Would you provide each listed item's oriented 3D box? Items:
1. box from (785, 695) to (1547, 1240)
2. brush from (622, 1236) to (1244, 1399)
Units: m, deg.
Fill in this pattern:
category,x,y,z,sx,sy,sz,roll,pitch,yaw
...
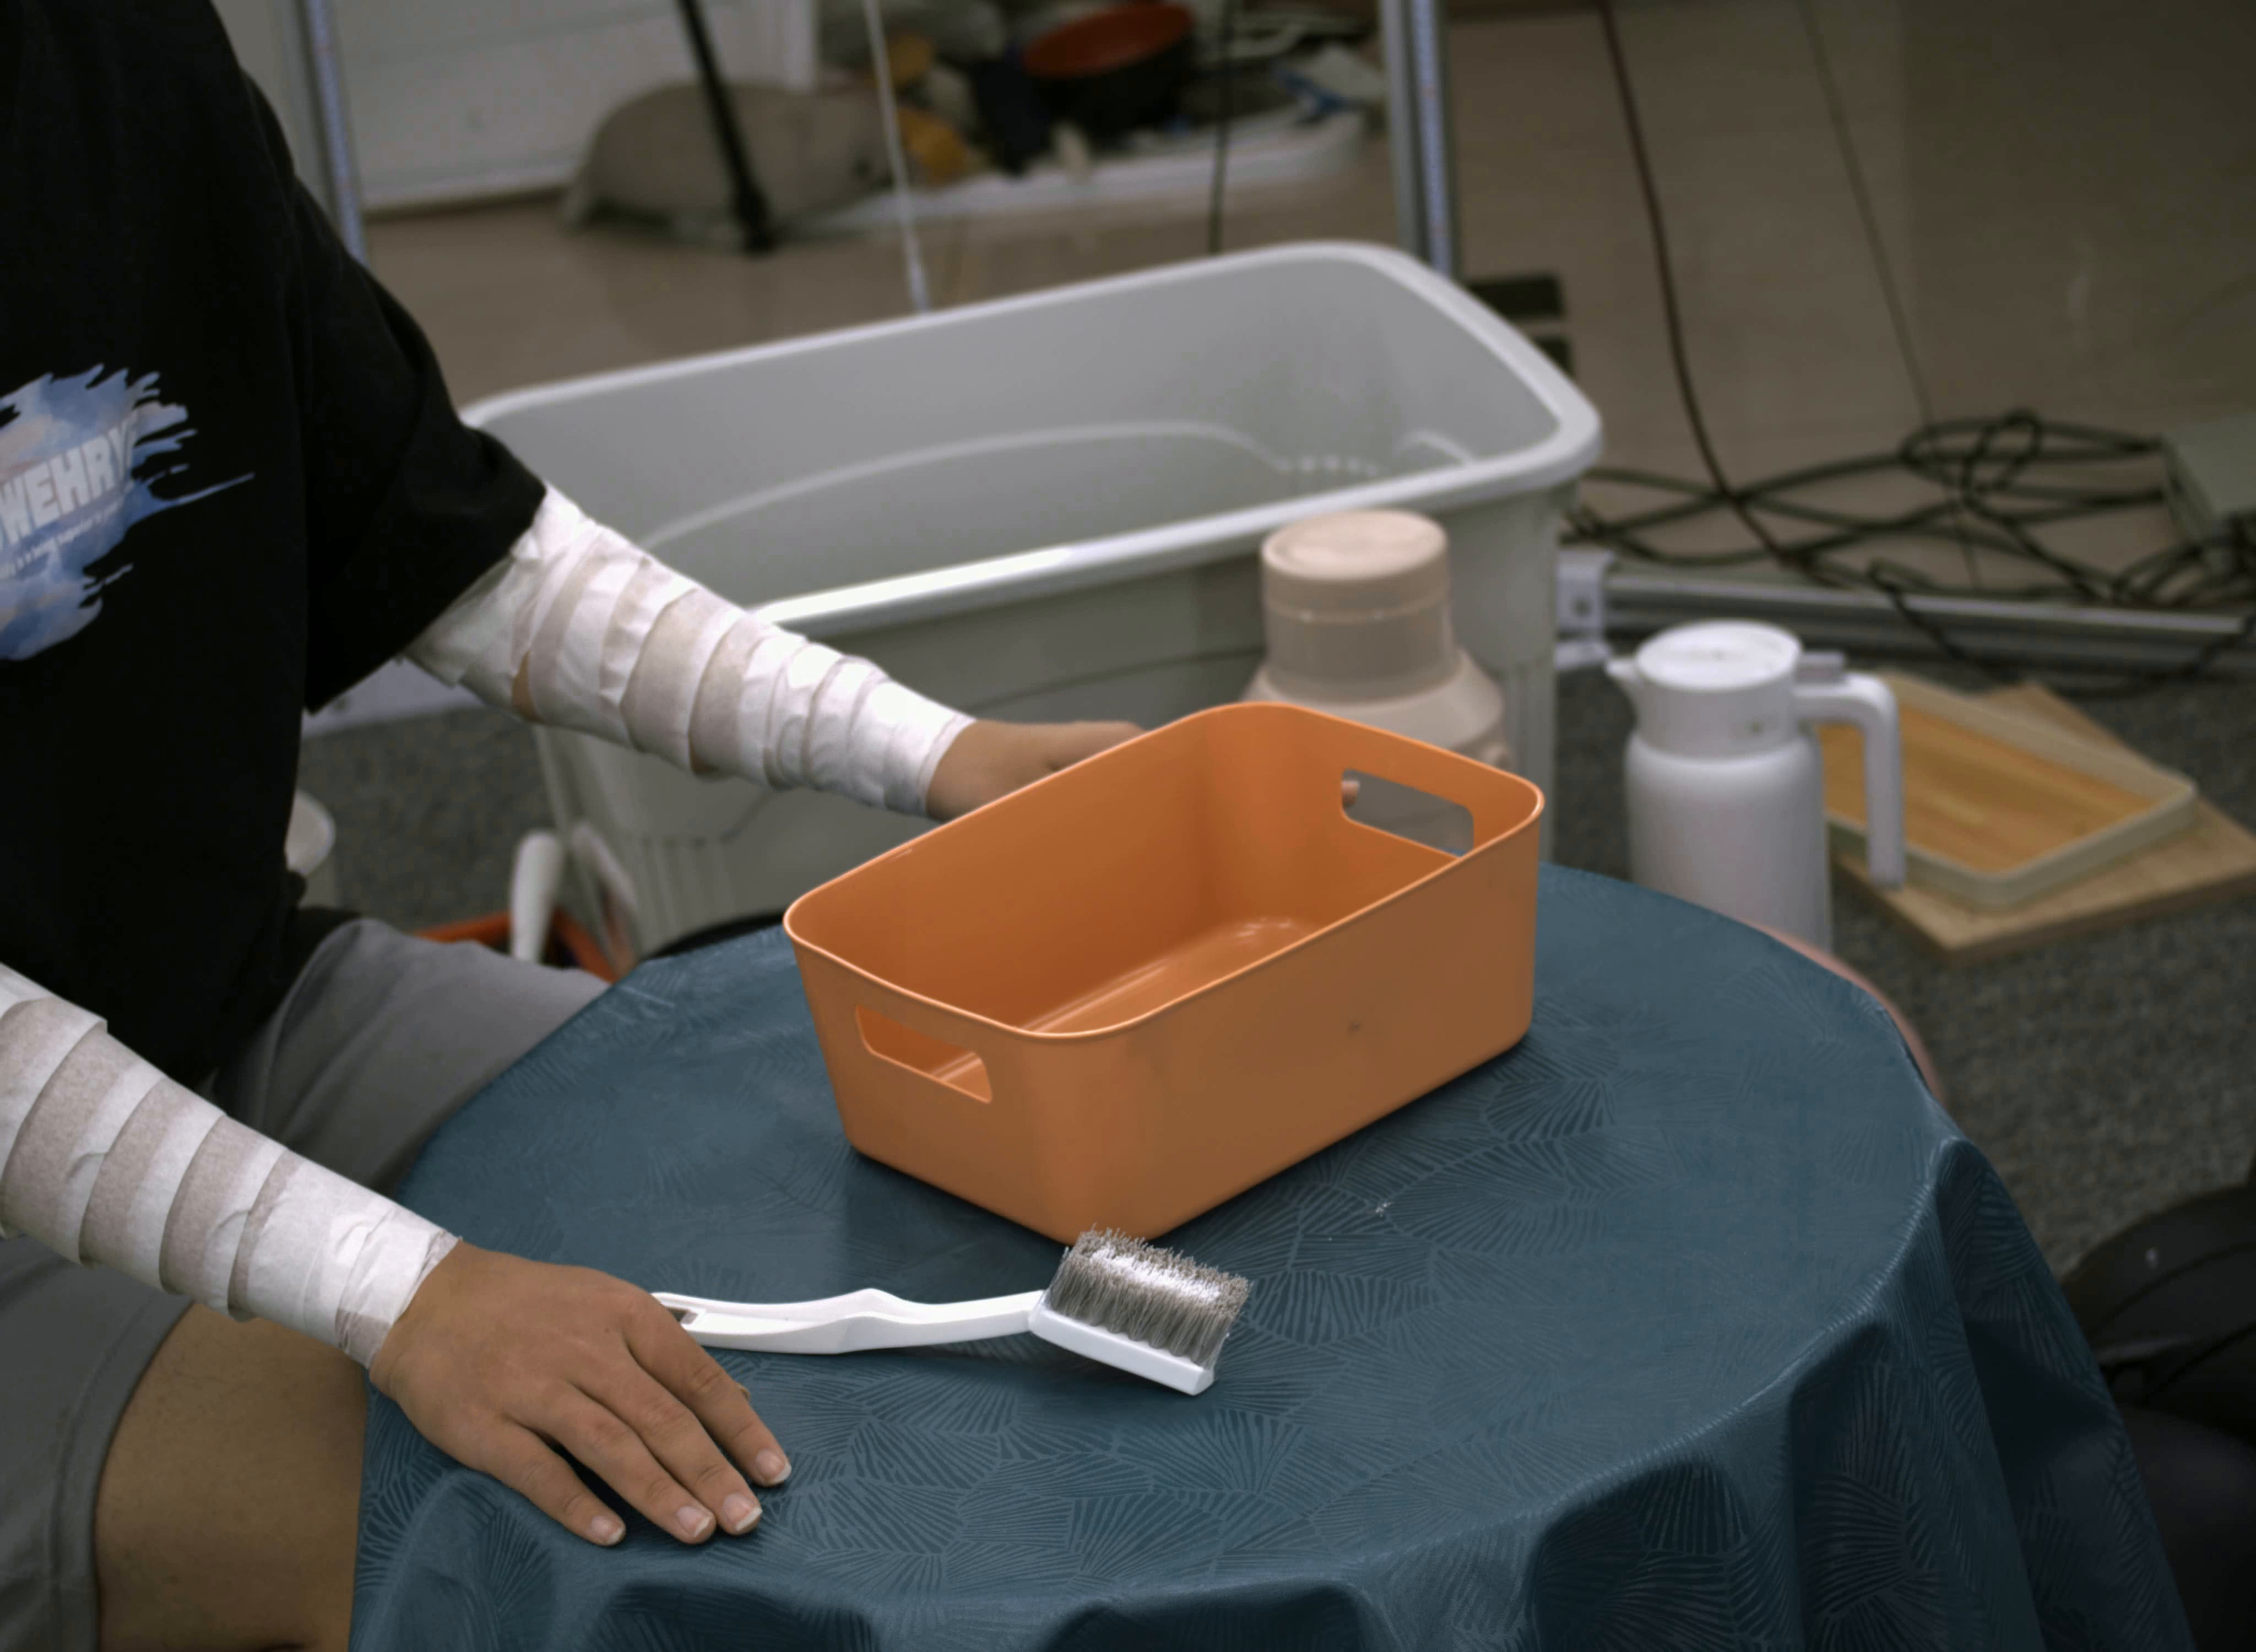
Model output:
category,x,y,z,sx,sy,sz,roll,pitch,yaw
box,0.019,0.054,2.197,0.271,0.104,0.198,-25,31,-36
brush,-0.074,0.167,2.044,0.243,0.051,0.034,4,27,22
